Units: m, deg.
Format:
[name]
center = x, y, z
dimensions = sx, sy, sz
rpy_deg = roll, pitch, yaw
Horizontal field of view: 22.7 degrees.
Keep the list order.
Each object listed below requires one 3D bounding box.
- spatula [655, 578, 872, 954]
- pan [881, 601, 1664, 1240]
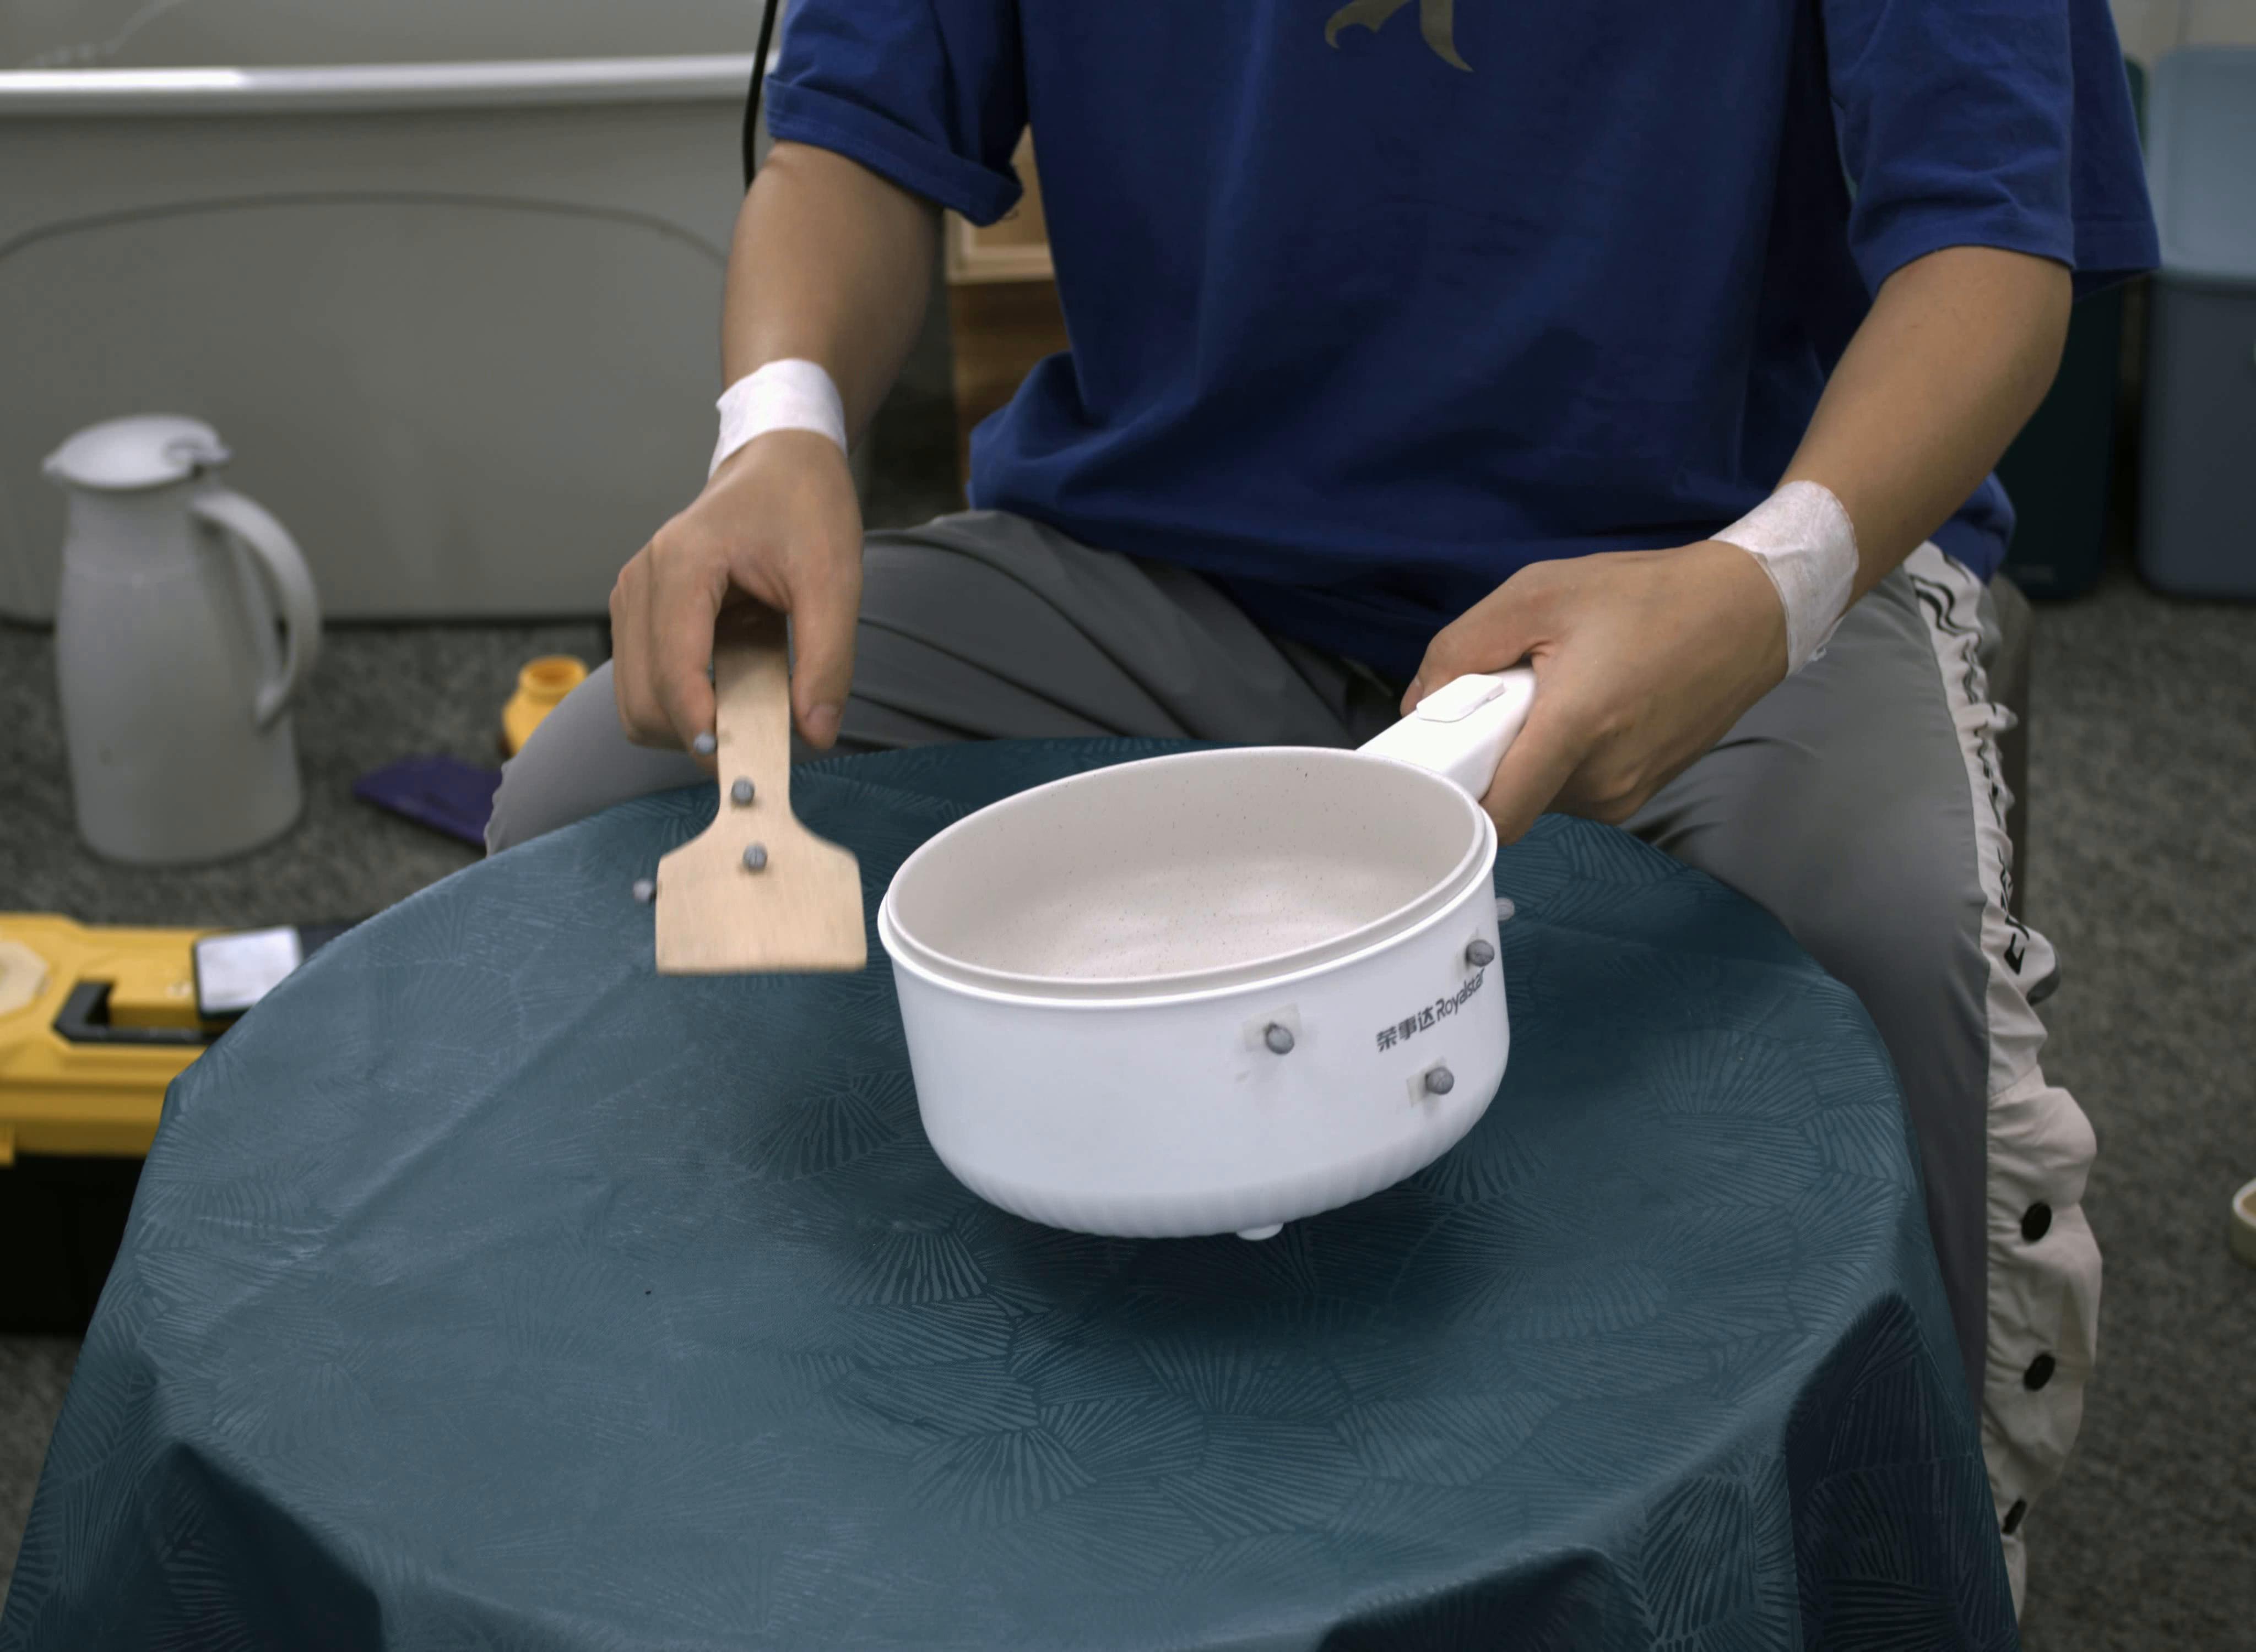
[spatula]
center = -0.130, -0.024, 1.973
dimensions = 0.072, 0.010, 0.297
rpy_deg = -3, 27, -3
[pan]
center = 0.071, 0.029, 1.877
dimensions = 0.199, 0.101, 0.360
rpy_deg = 5, 24, 37
